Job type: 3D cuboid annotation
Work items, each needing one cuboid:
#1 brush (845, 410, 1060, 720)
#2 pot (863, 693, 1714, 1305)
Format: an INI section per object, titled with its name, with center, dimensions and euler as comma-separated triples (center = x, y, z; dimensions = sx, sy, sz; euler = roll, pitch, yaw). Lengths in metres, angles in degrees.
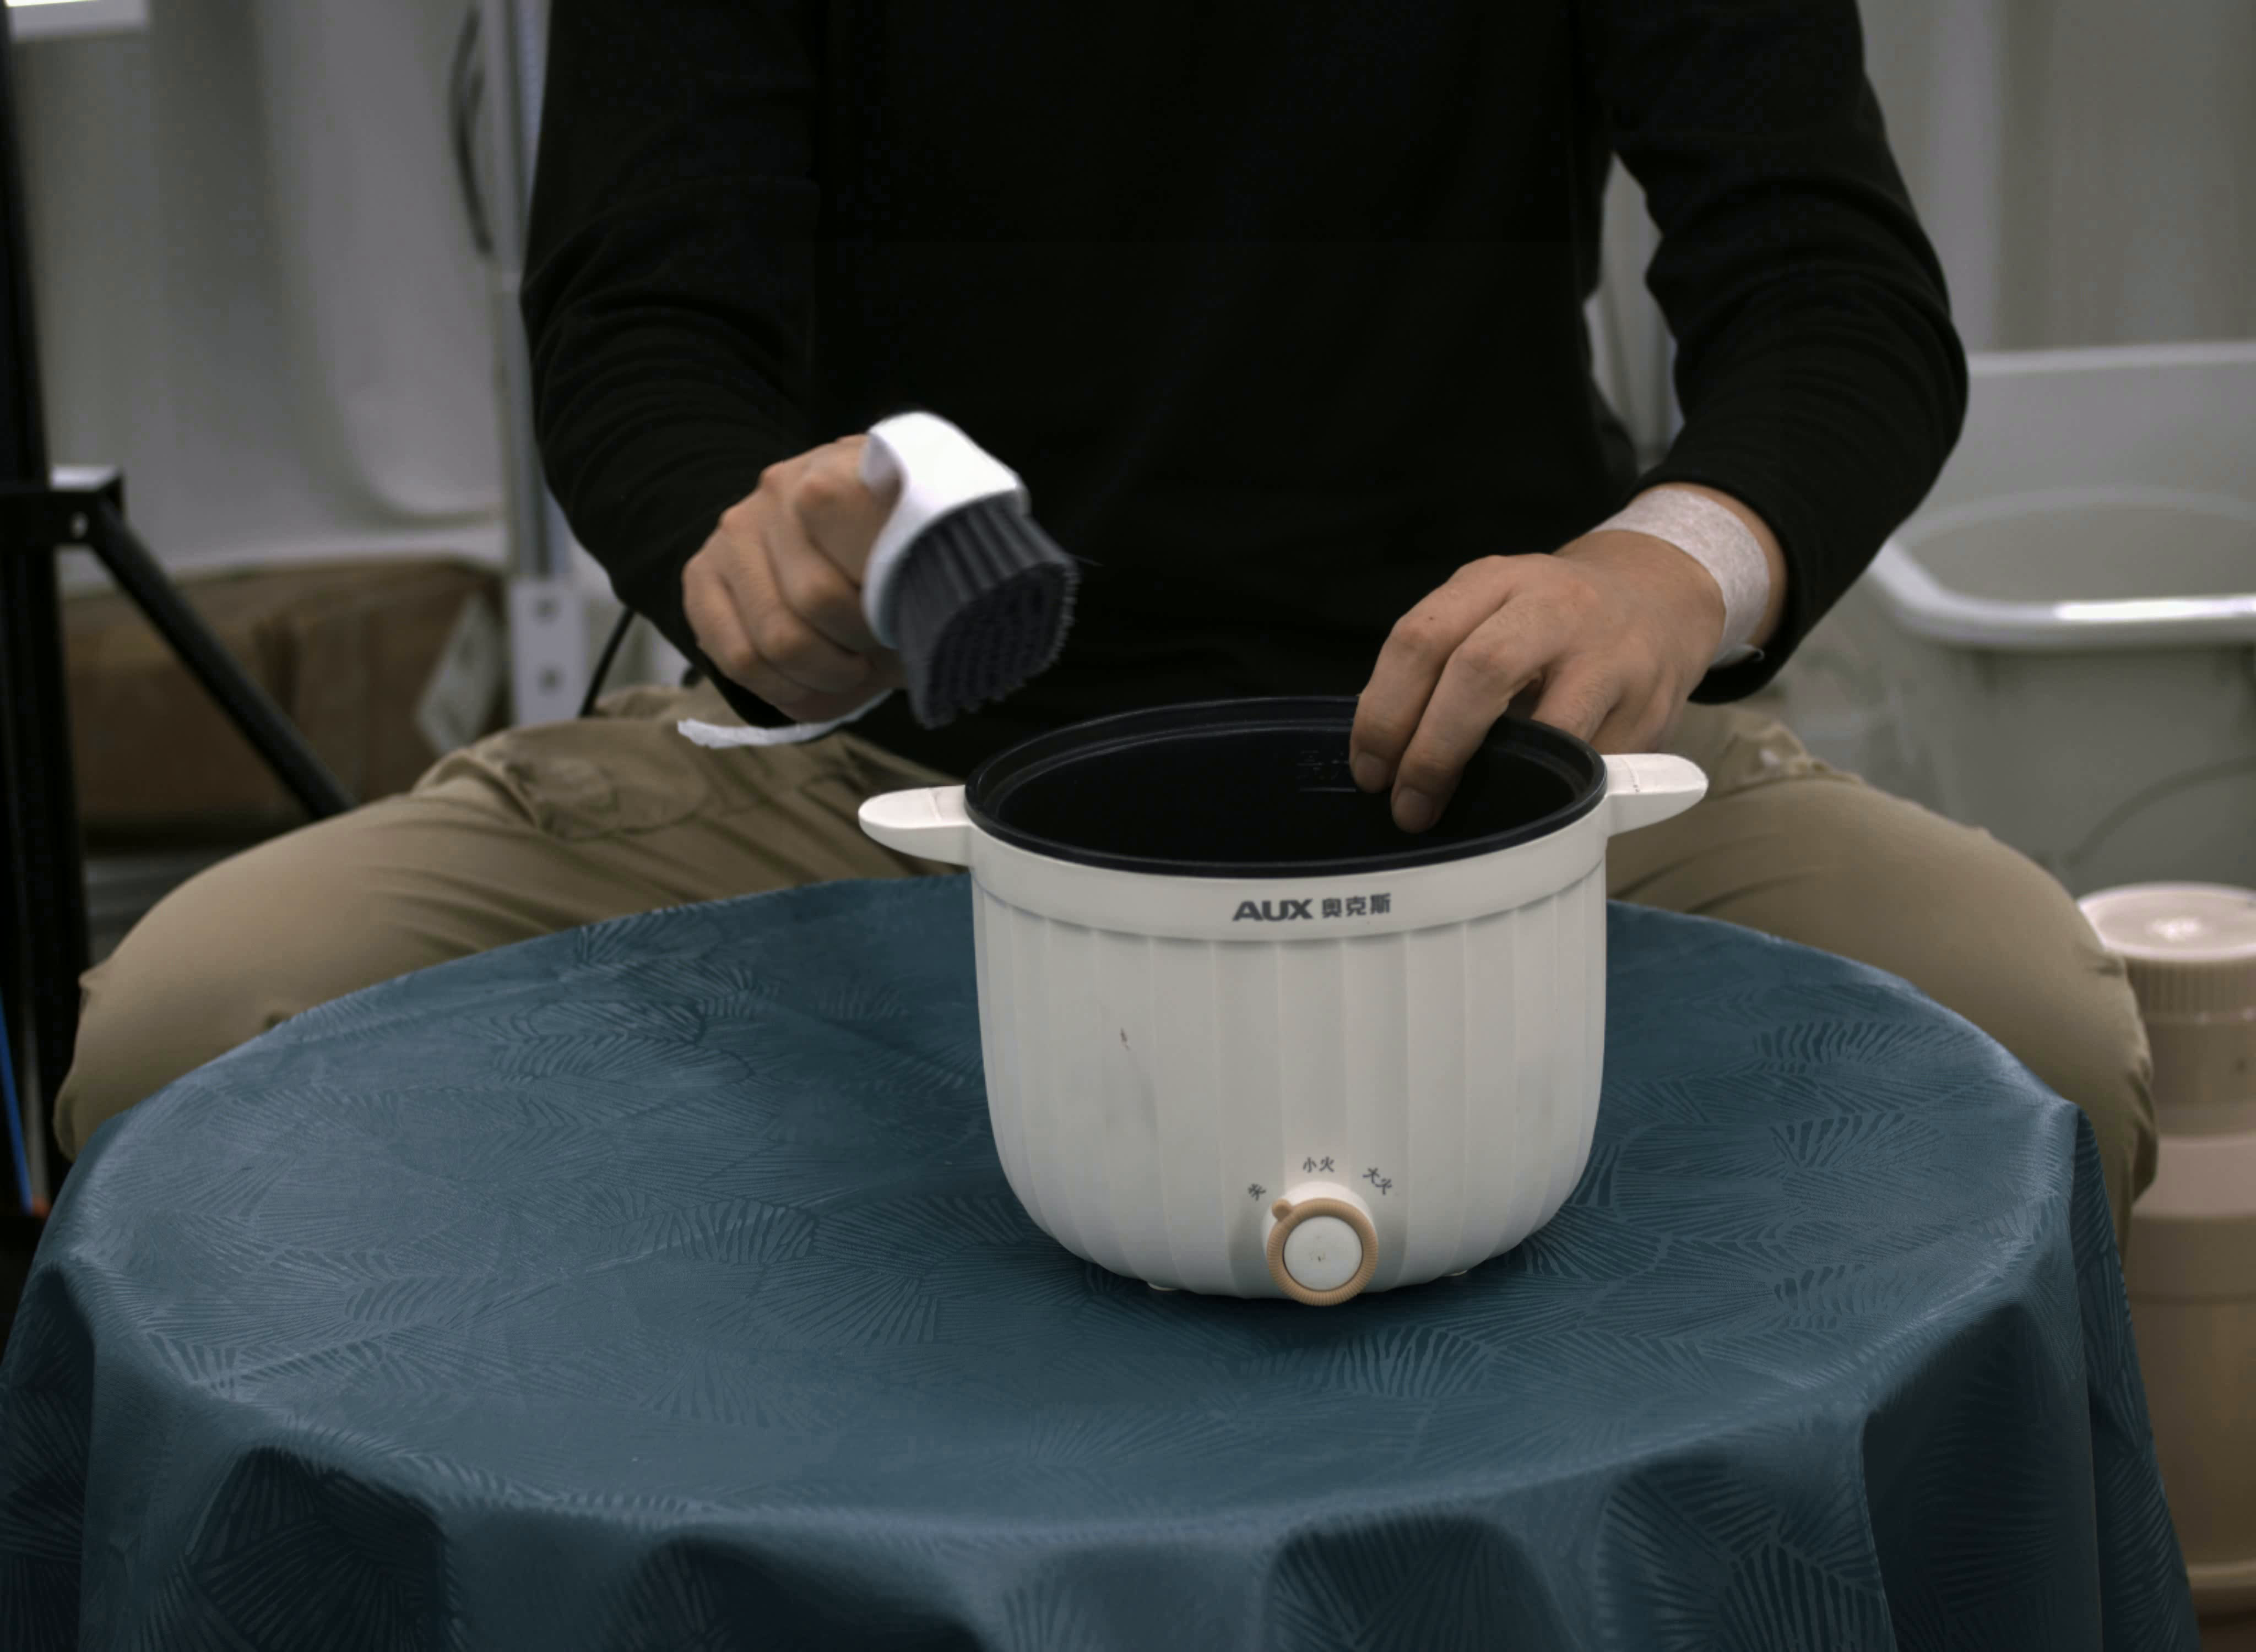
[brush]
center = -0.059, -0.082, 1.565
dimensions = 0.050, 0.073, 0.099
euler = -27, -17, -12
[pot]
center = 0.049, 0.051, 1.498
dimensions = 0.239, 0.143, 0.191
euler = -4, 13, -1
